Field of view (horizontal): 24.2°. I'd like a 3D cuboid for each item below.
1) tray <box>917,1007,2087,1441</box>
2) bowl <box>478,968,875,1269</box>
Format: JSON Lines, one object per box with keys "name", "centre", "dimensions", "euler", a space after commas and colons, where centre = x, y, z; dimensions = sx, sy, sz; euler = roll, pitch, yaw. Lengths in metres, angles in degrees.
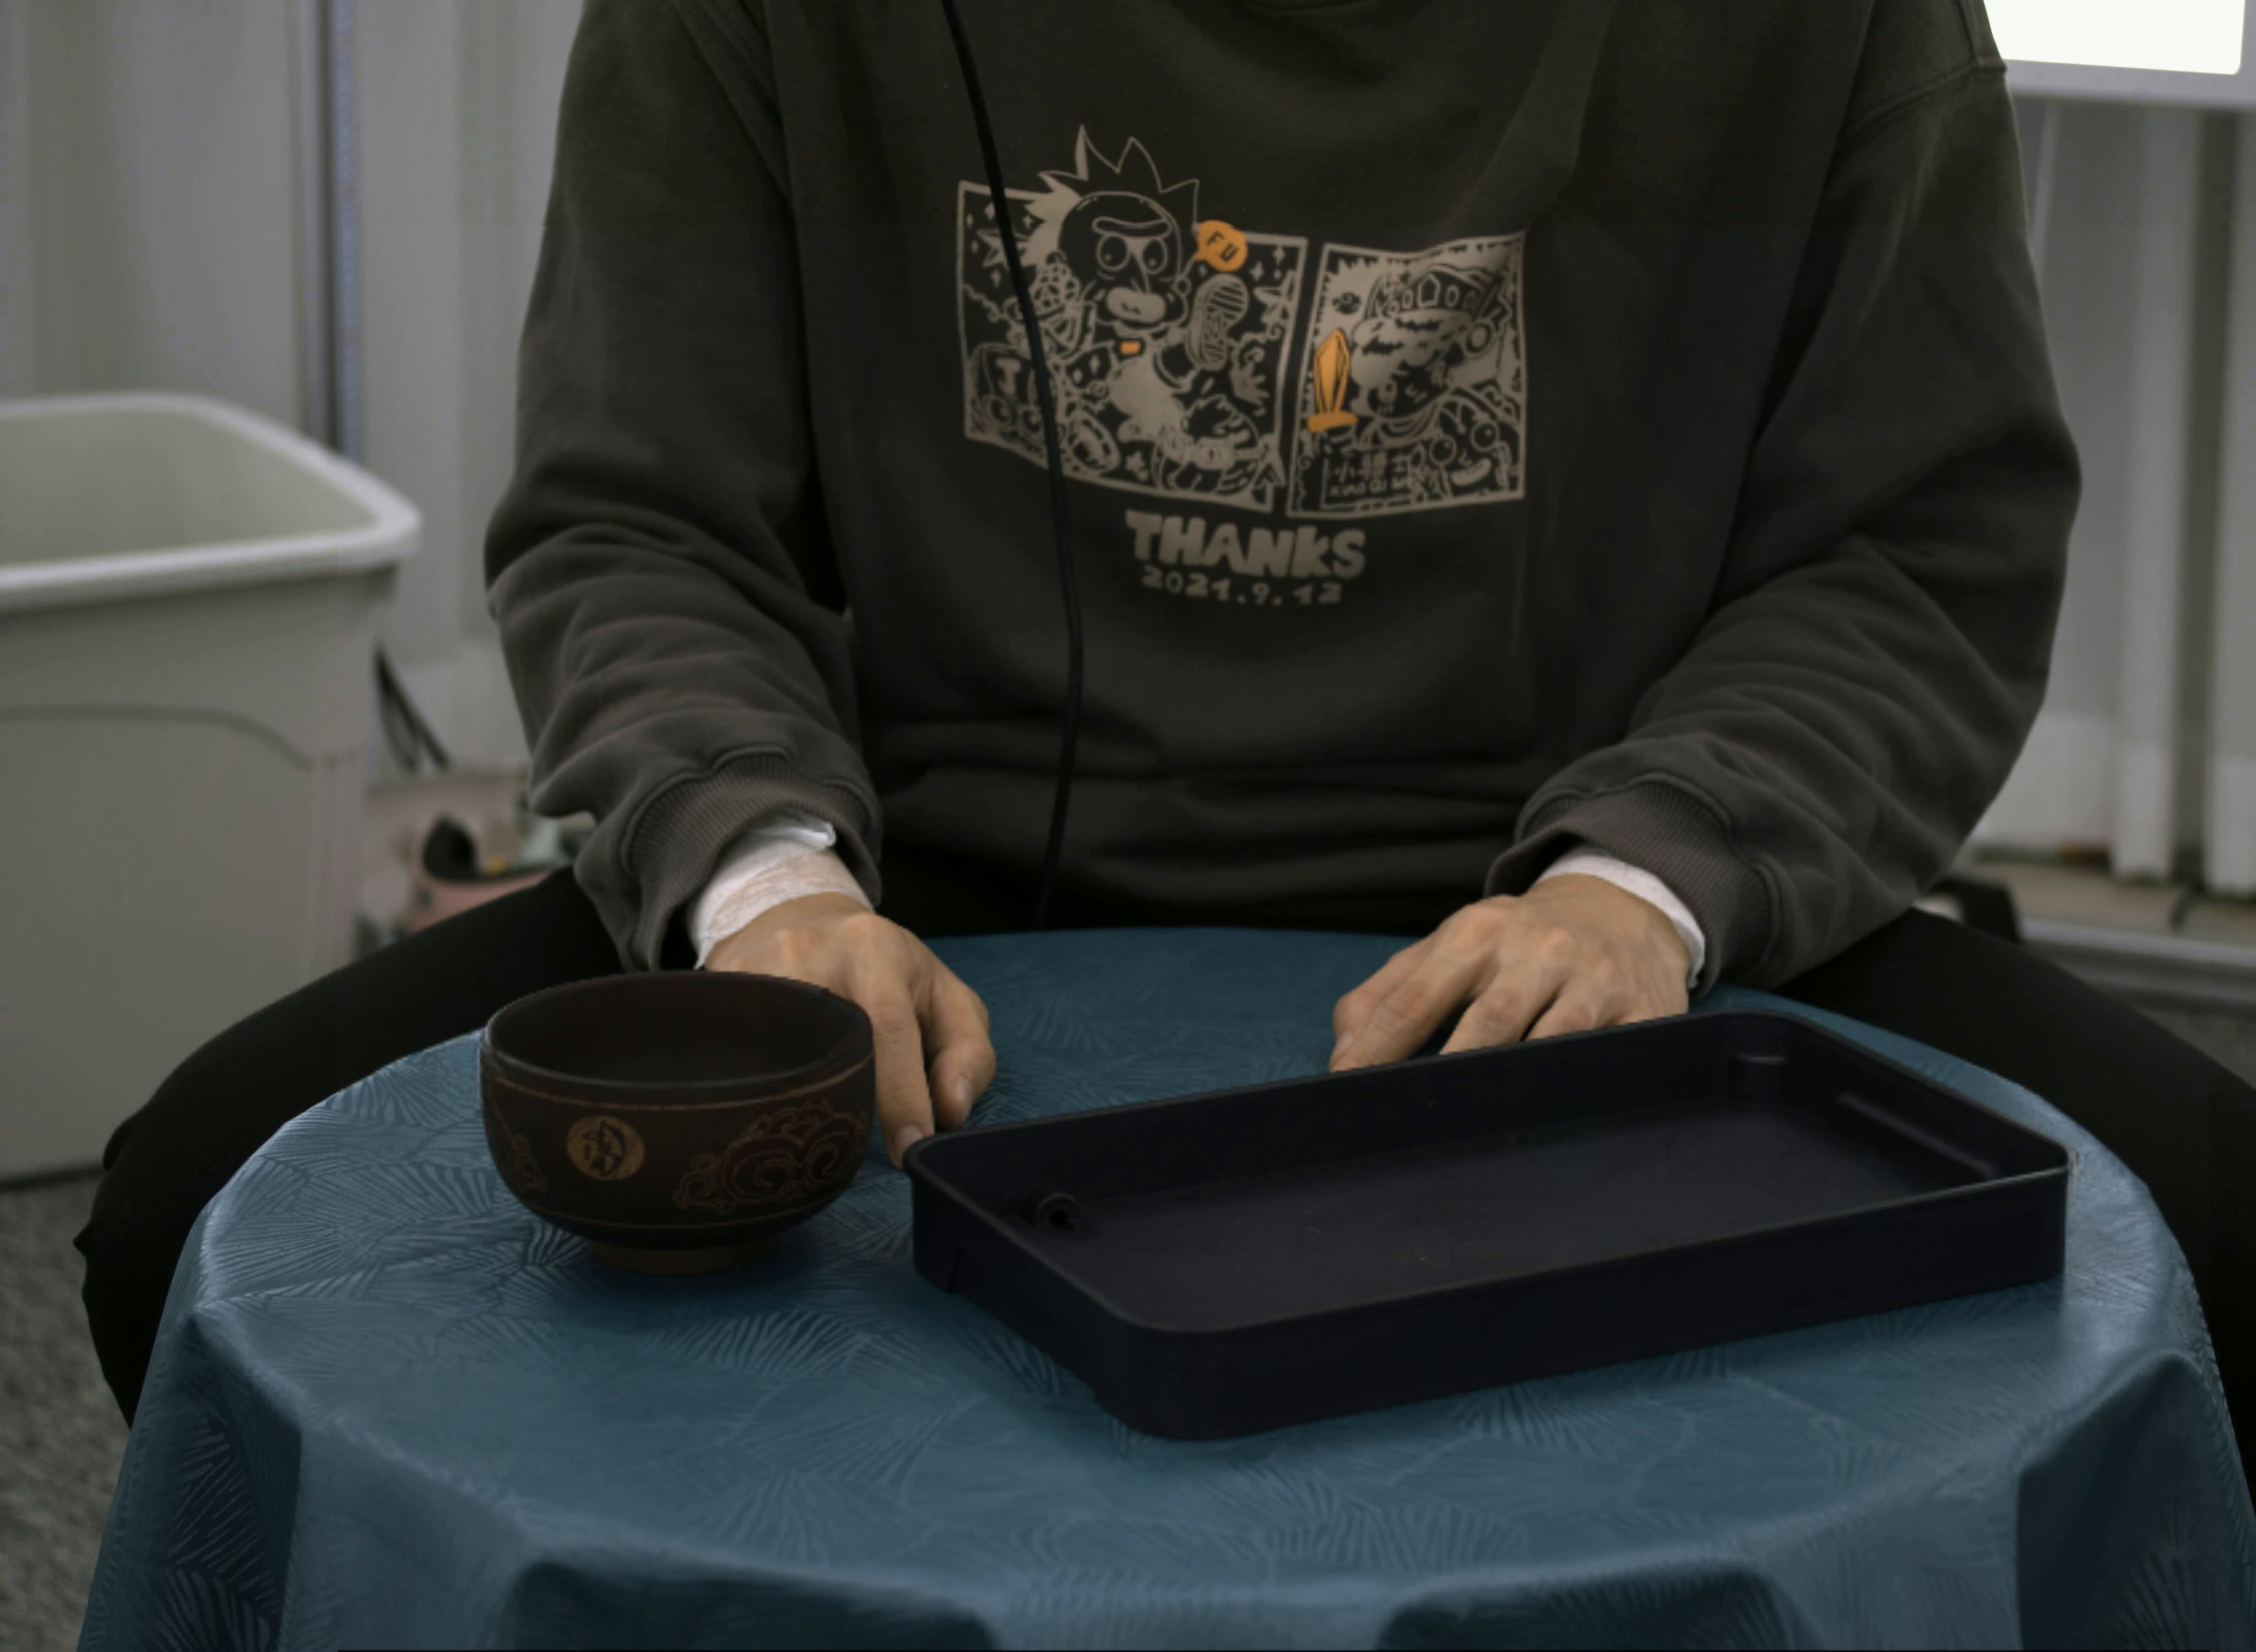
{"name": "tray", "centre": [0.112, 0.113, 1.567], "dimensions": [0.319, 0.037, 0.182], "euler": [-8, 17, -28]}
{"name": "bowl", "centre": [-0.134, 0.090, 1.570], "dimensions": [0.117, 0.070, 0.117], "euler": [1, 14, 0]}
